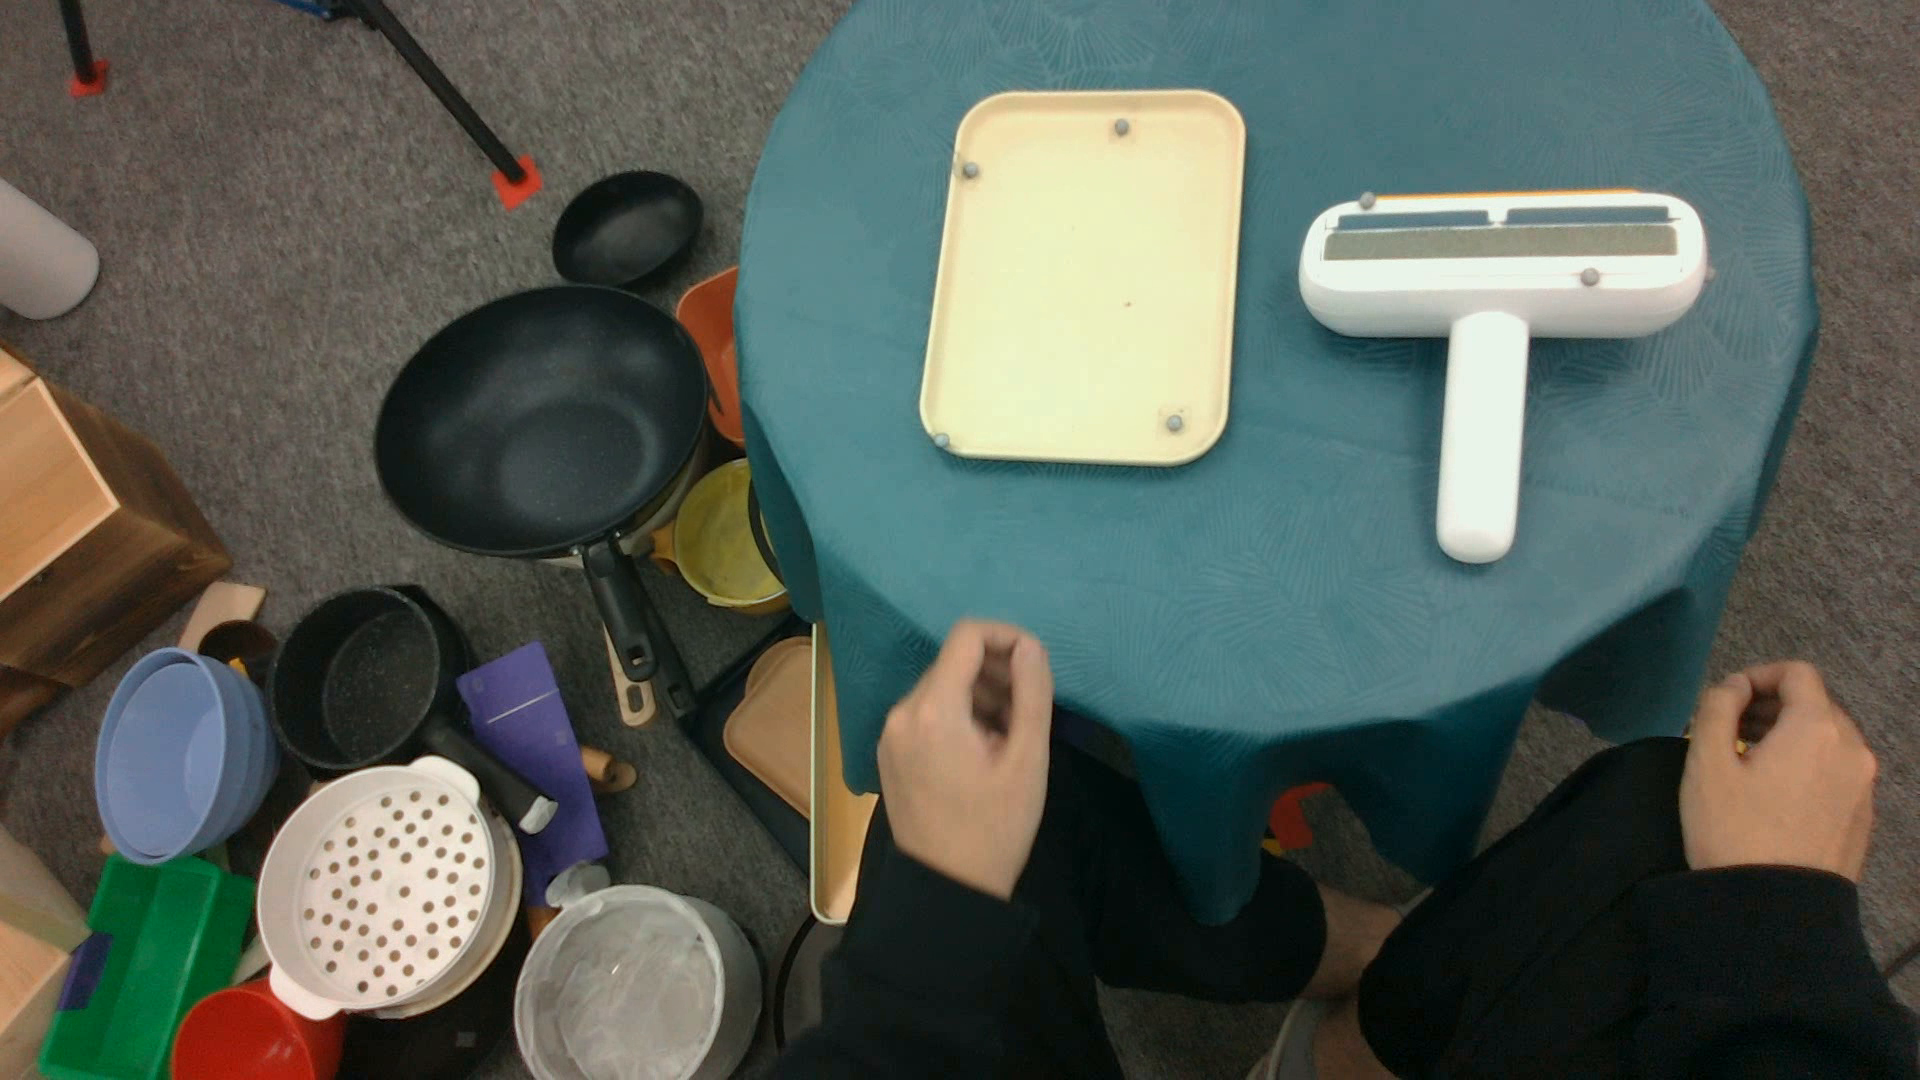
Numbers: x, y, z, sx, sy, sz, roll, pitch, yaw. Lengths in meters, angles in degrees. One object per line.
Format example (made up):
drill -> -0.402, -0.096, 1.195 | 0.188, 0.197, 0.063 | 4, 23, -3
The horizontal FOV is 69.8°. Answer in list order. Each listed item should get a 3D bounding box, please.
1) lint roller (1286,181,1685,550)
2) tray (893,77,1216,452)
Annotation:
lint roller -> 0.257, -0.091, 0.706 | 0.192, 0.074, 0.193 | 9, 73, 17
tray -> 0.056, -0.161, 0.786 | 0.171, 0.017, 0.240 | 4, 71, 9
